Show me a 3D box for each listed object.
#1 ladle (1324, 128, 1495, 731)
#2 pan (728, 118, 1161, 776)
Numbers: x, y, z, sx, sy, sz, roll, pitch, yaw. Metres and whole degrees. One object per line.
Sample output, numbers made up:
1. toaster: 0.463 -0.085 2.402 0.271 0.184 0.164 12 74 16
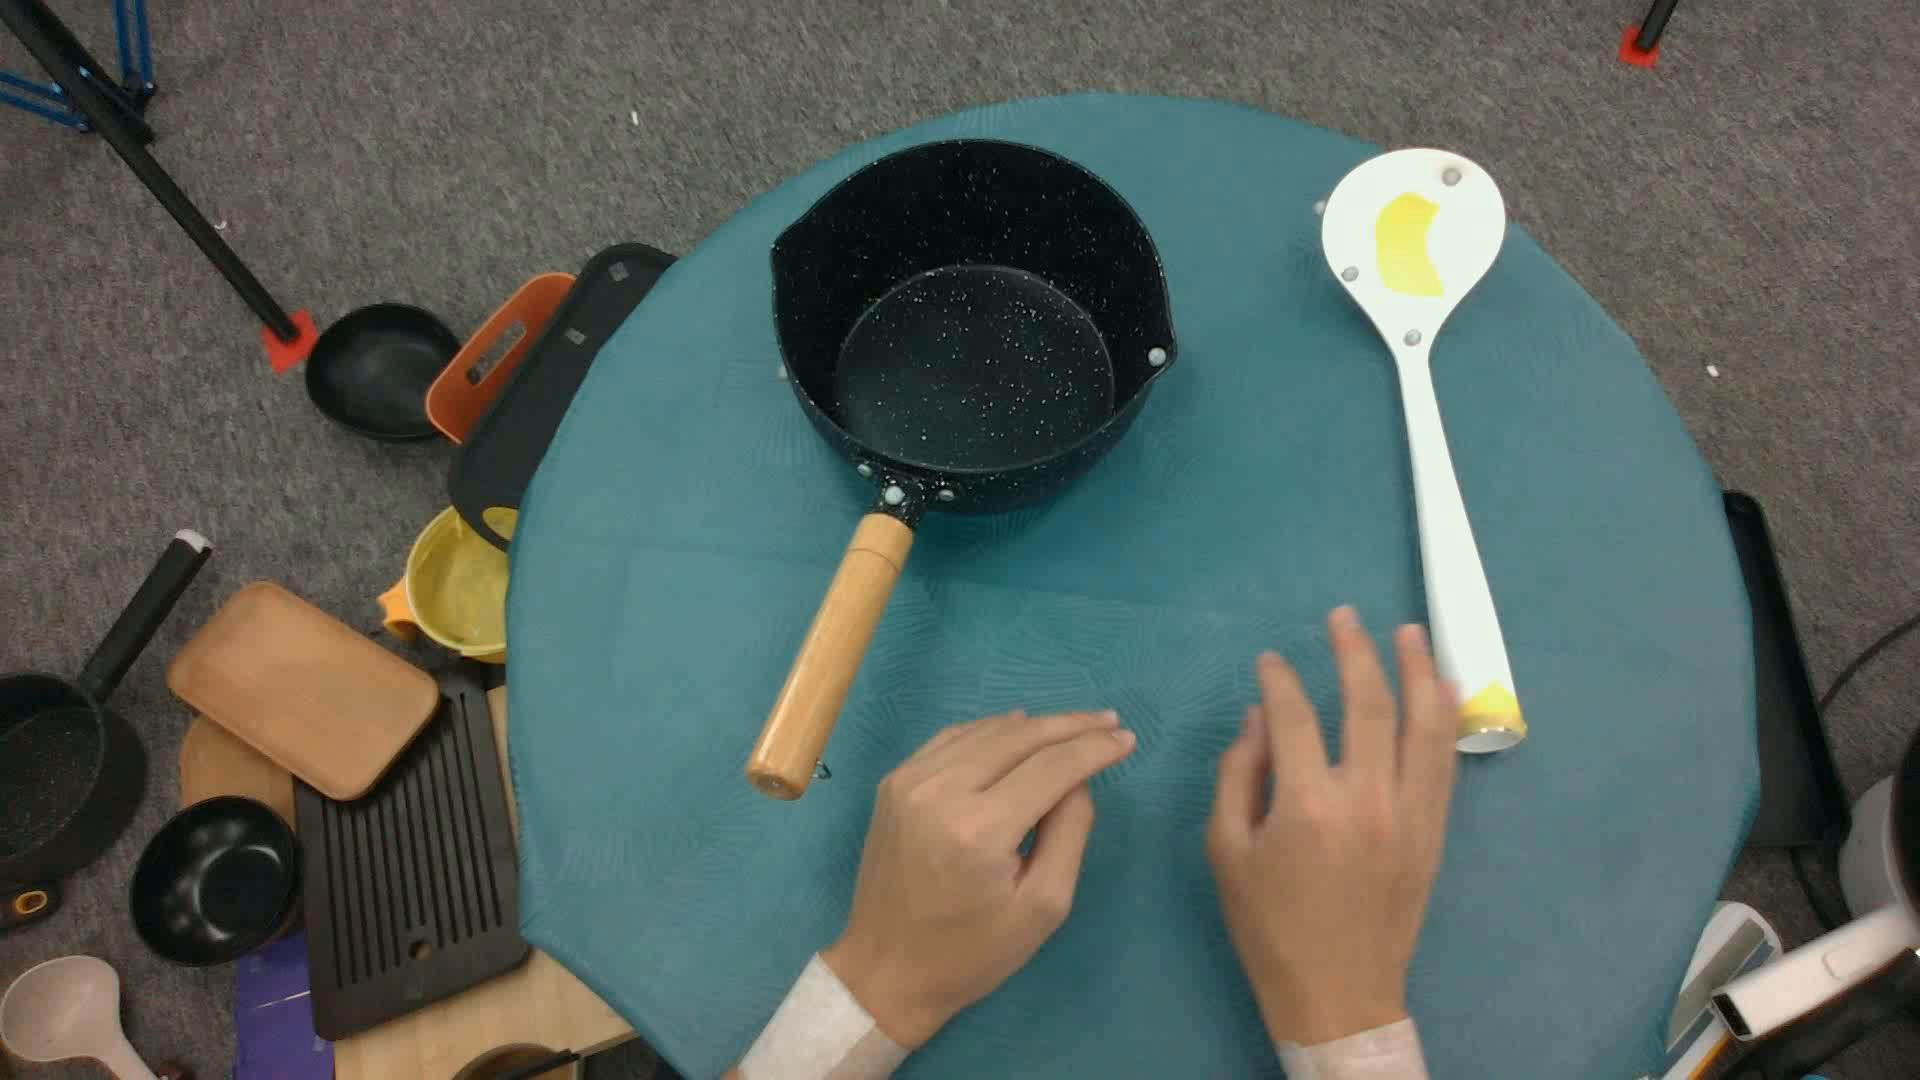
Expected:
1. ladle: 0.229 -0.059 0.668 0.090 0.069 0.294 2 68 -4
2. pan: -0.026 -0.041 0.640 0.207 0.108 0.344 15 66 6
